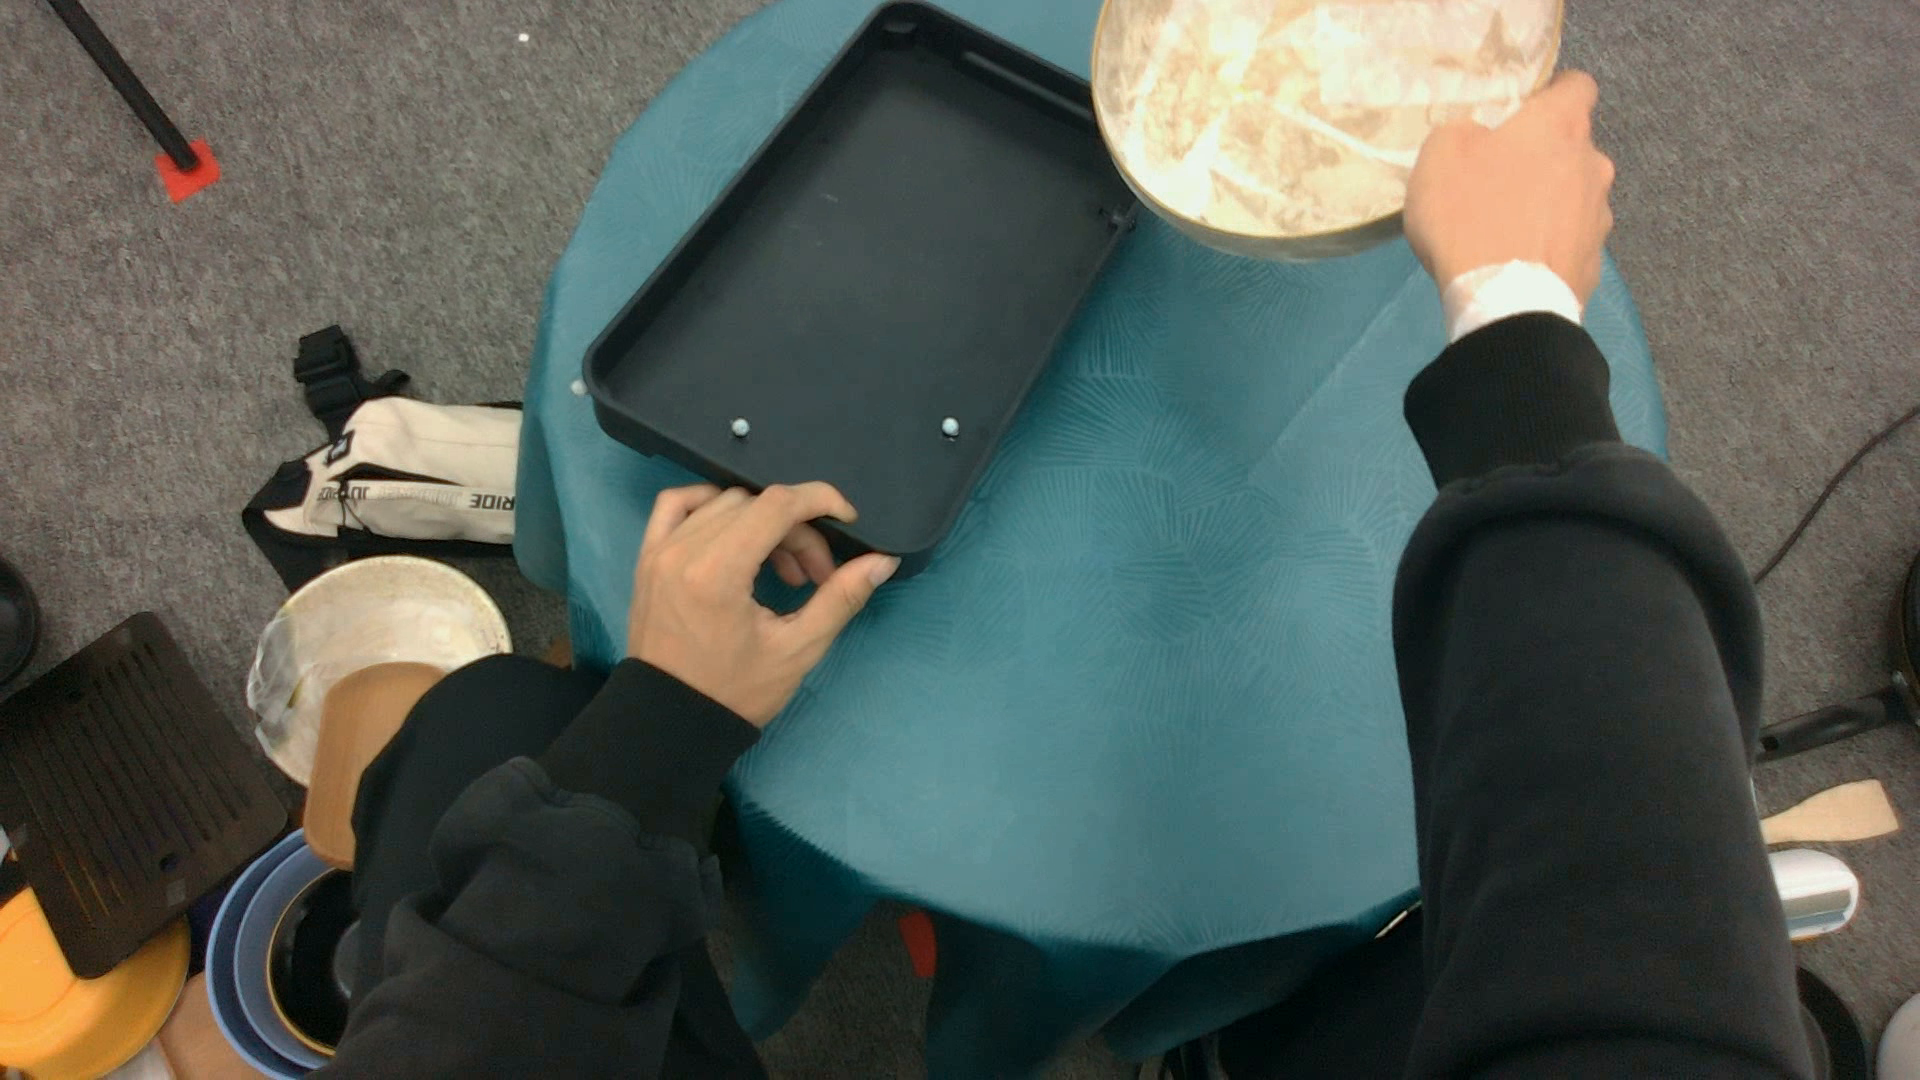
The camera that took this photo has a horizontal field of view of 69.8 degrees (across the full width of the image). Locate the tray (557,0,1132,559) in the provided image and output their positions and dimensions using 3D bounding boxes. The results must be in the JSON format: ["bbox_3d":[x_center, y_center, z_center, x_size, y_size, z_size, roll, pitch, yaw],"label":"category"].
[{"bbox_3d":[-0.039,-0.150,0.695,0.184,0.037,0.319,29,60,5],"label":"tray"}]

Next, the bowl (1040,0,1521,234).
[{"bbox_3d":[0.151,-0.223,0.635,0.214,0.094,0.215,-5,76,21],"label":"bowl"}]
